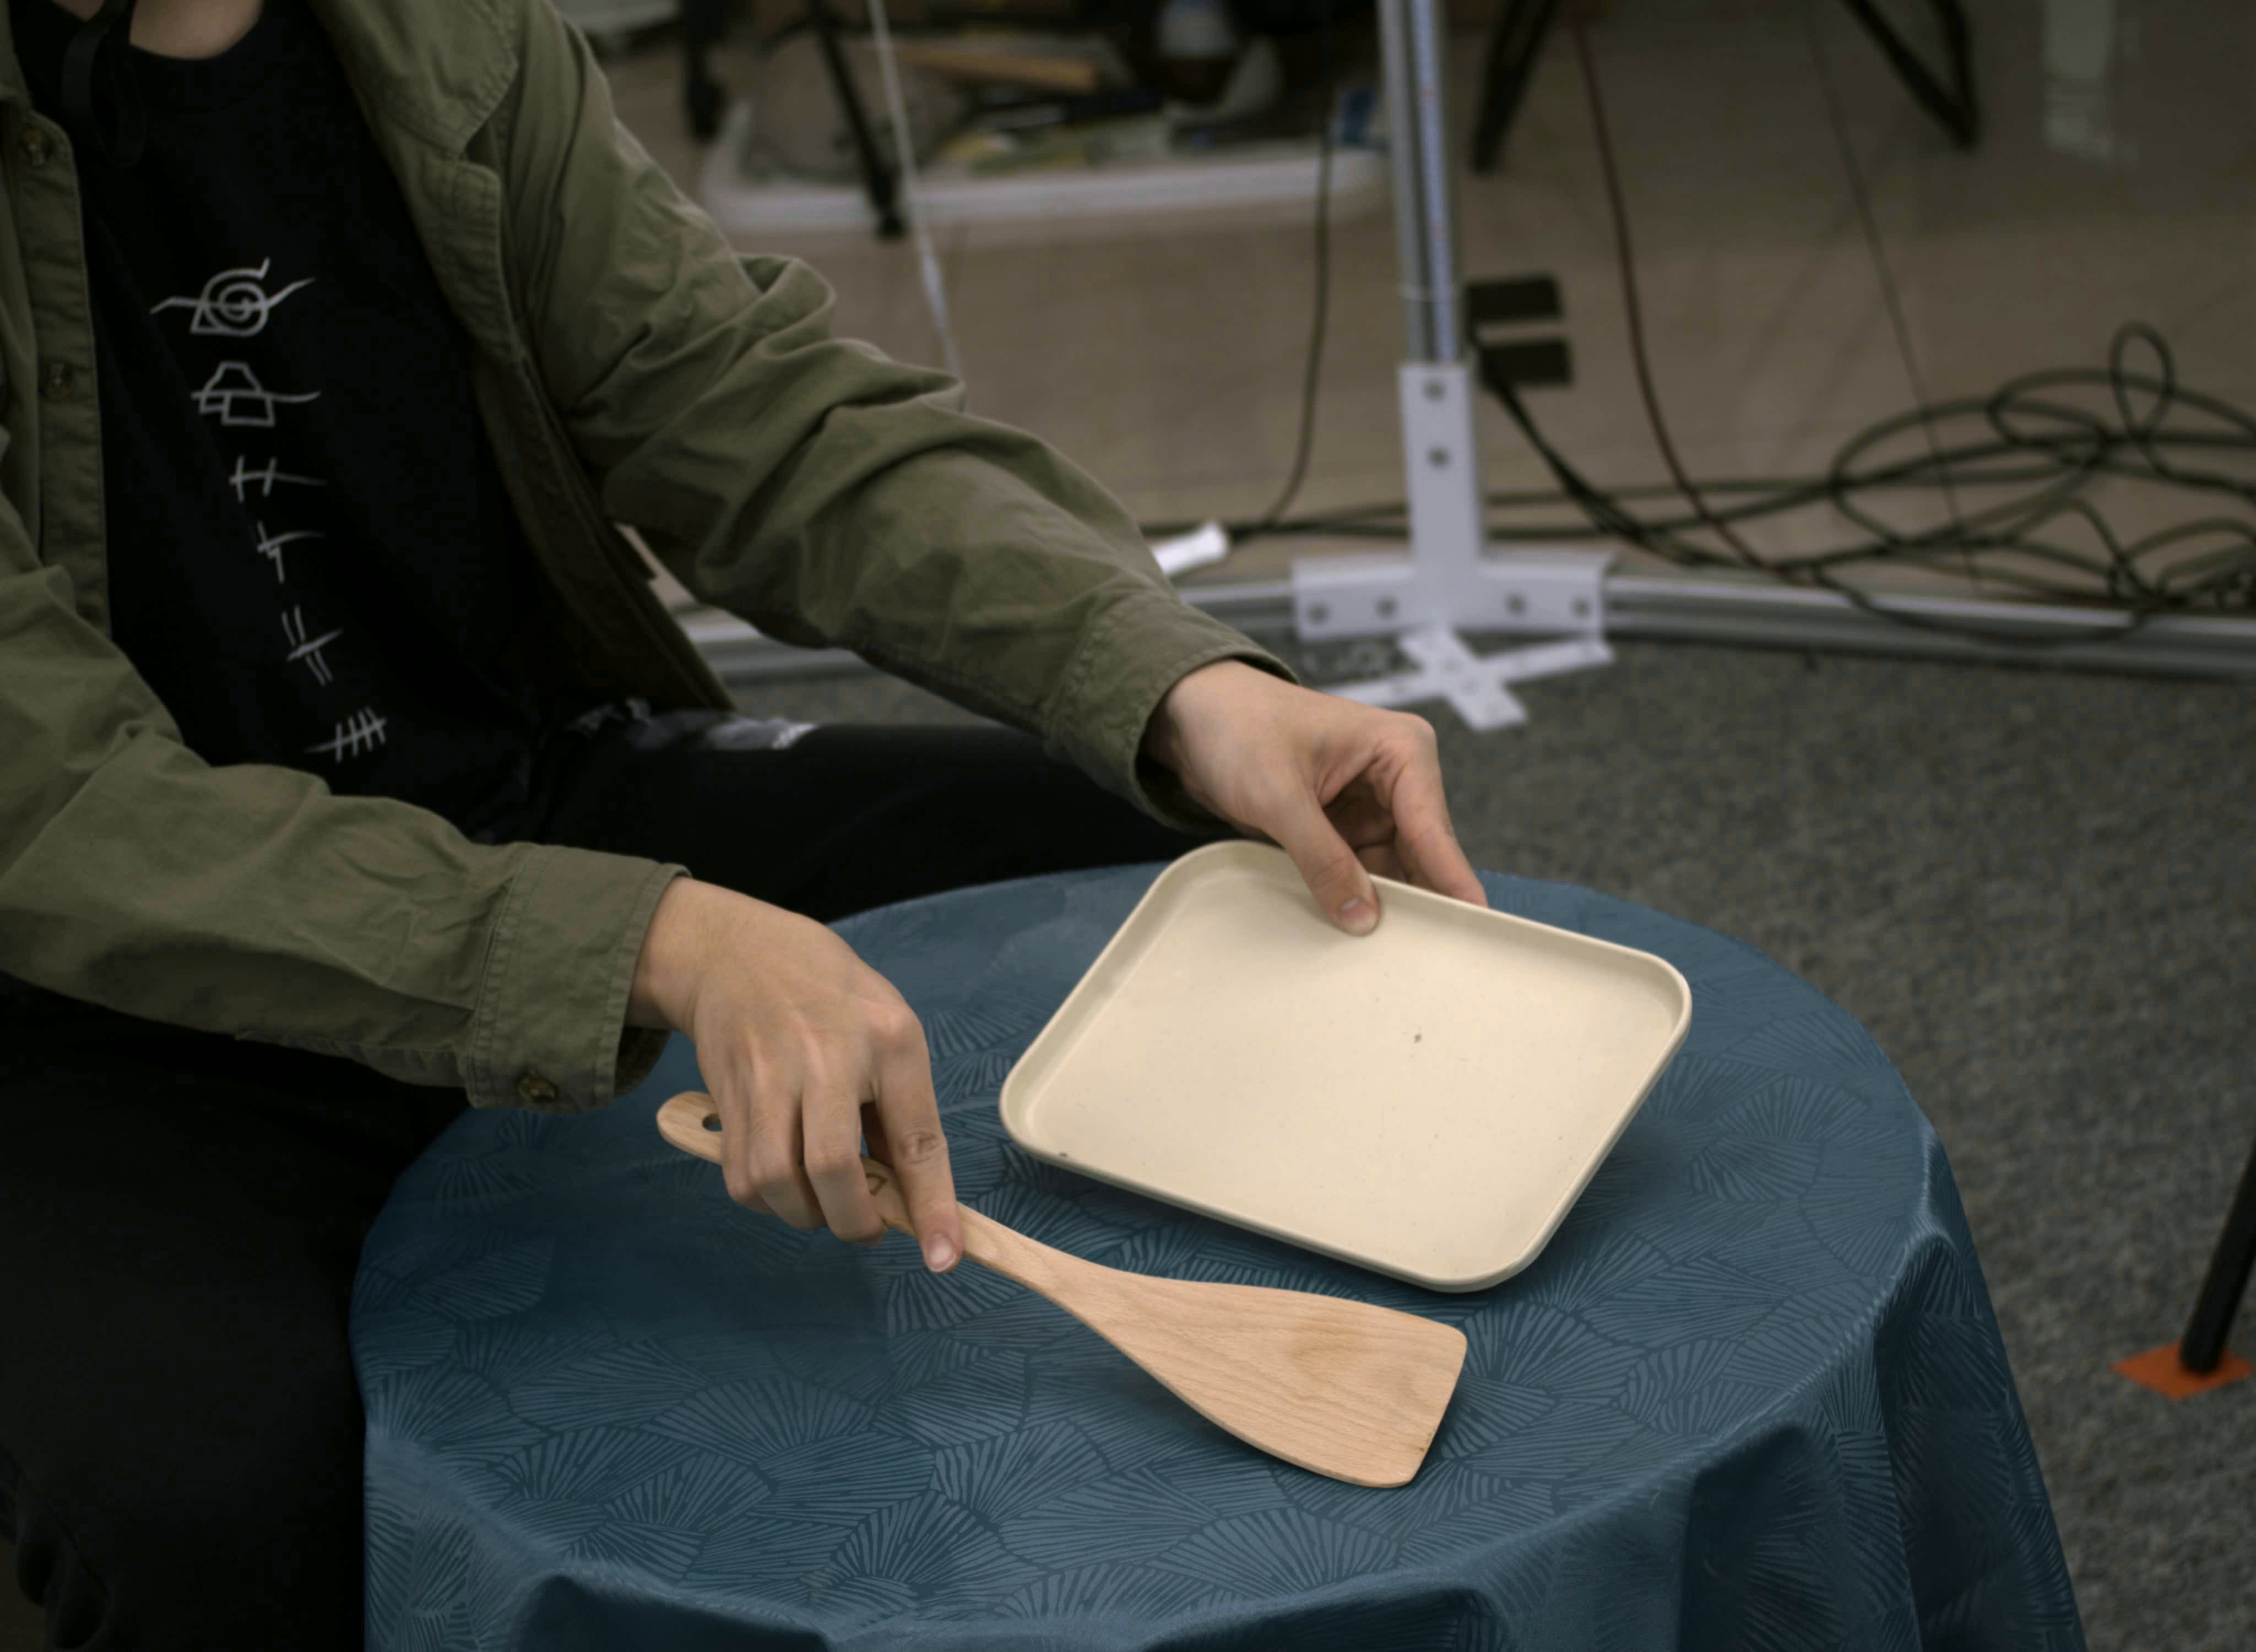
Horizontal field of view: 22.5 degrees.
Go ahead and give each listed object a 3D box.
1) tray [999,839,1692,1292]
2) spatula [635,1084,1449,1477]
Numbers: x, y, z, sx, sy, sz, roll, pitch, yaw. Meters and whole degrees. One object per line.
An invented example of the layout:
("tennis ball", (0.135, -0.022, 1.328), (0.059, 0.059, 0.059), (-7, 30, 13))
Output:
("tray", (0.082, 0.090, 2.139), (0.238, 0.018, 0.169), (17, 55, 32))
("spatula", (-0.035, 0.151, 2.027), (0.325, 0.017, 0.079), (21, 49, 20))
